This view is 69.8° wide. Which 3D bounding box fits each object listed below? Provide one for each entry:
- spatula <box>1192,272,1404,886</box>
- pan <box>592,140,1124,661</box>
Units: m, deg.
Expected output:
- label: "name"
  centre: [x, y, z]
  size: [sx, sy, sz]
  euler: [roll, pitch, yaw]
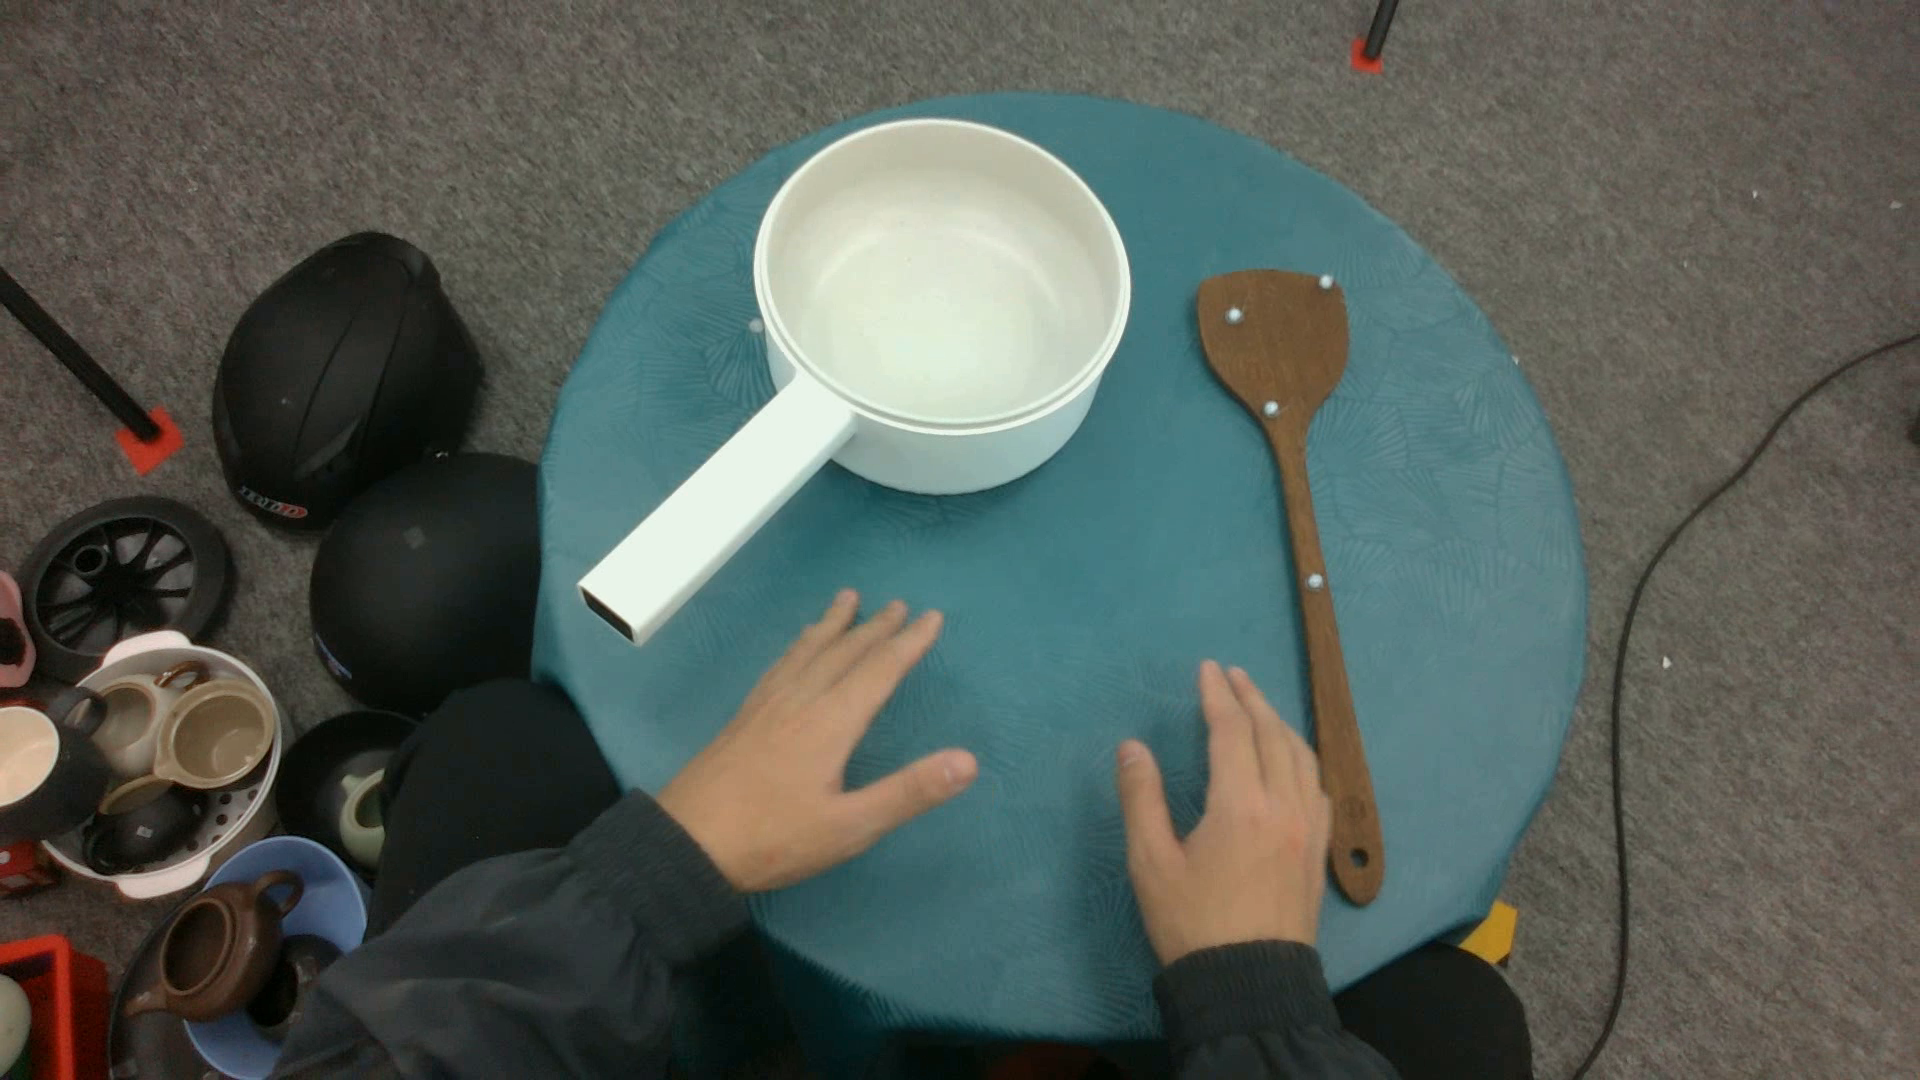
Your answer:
- label: "spatula"
  centre: [0.204, 0.004, 0.792]
  size: [0.096, 0.016, 0.387]
  euler: [-2, 63, -5]
- label: "pan"
  centre: [-0.058, -0.066, 0.761]
  size: [0.201, 0.101, 0.356]
  euler: [35, 67, 12]
